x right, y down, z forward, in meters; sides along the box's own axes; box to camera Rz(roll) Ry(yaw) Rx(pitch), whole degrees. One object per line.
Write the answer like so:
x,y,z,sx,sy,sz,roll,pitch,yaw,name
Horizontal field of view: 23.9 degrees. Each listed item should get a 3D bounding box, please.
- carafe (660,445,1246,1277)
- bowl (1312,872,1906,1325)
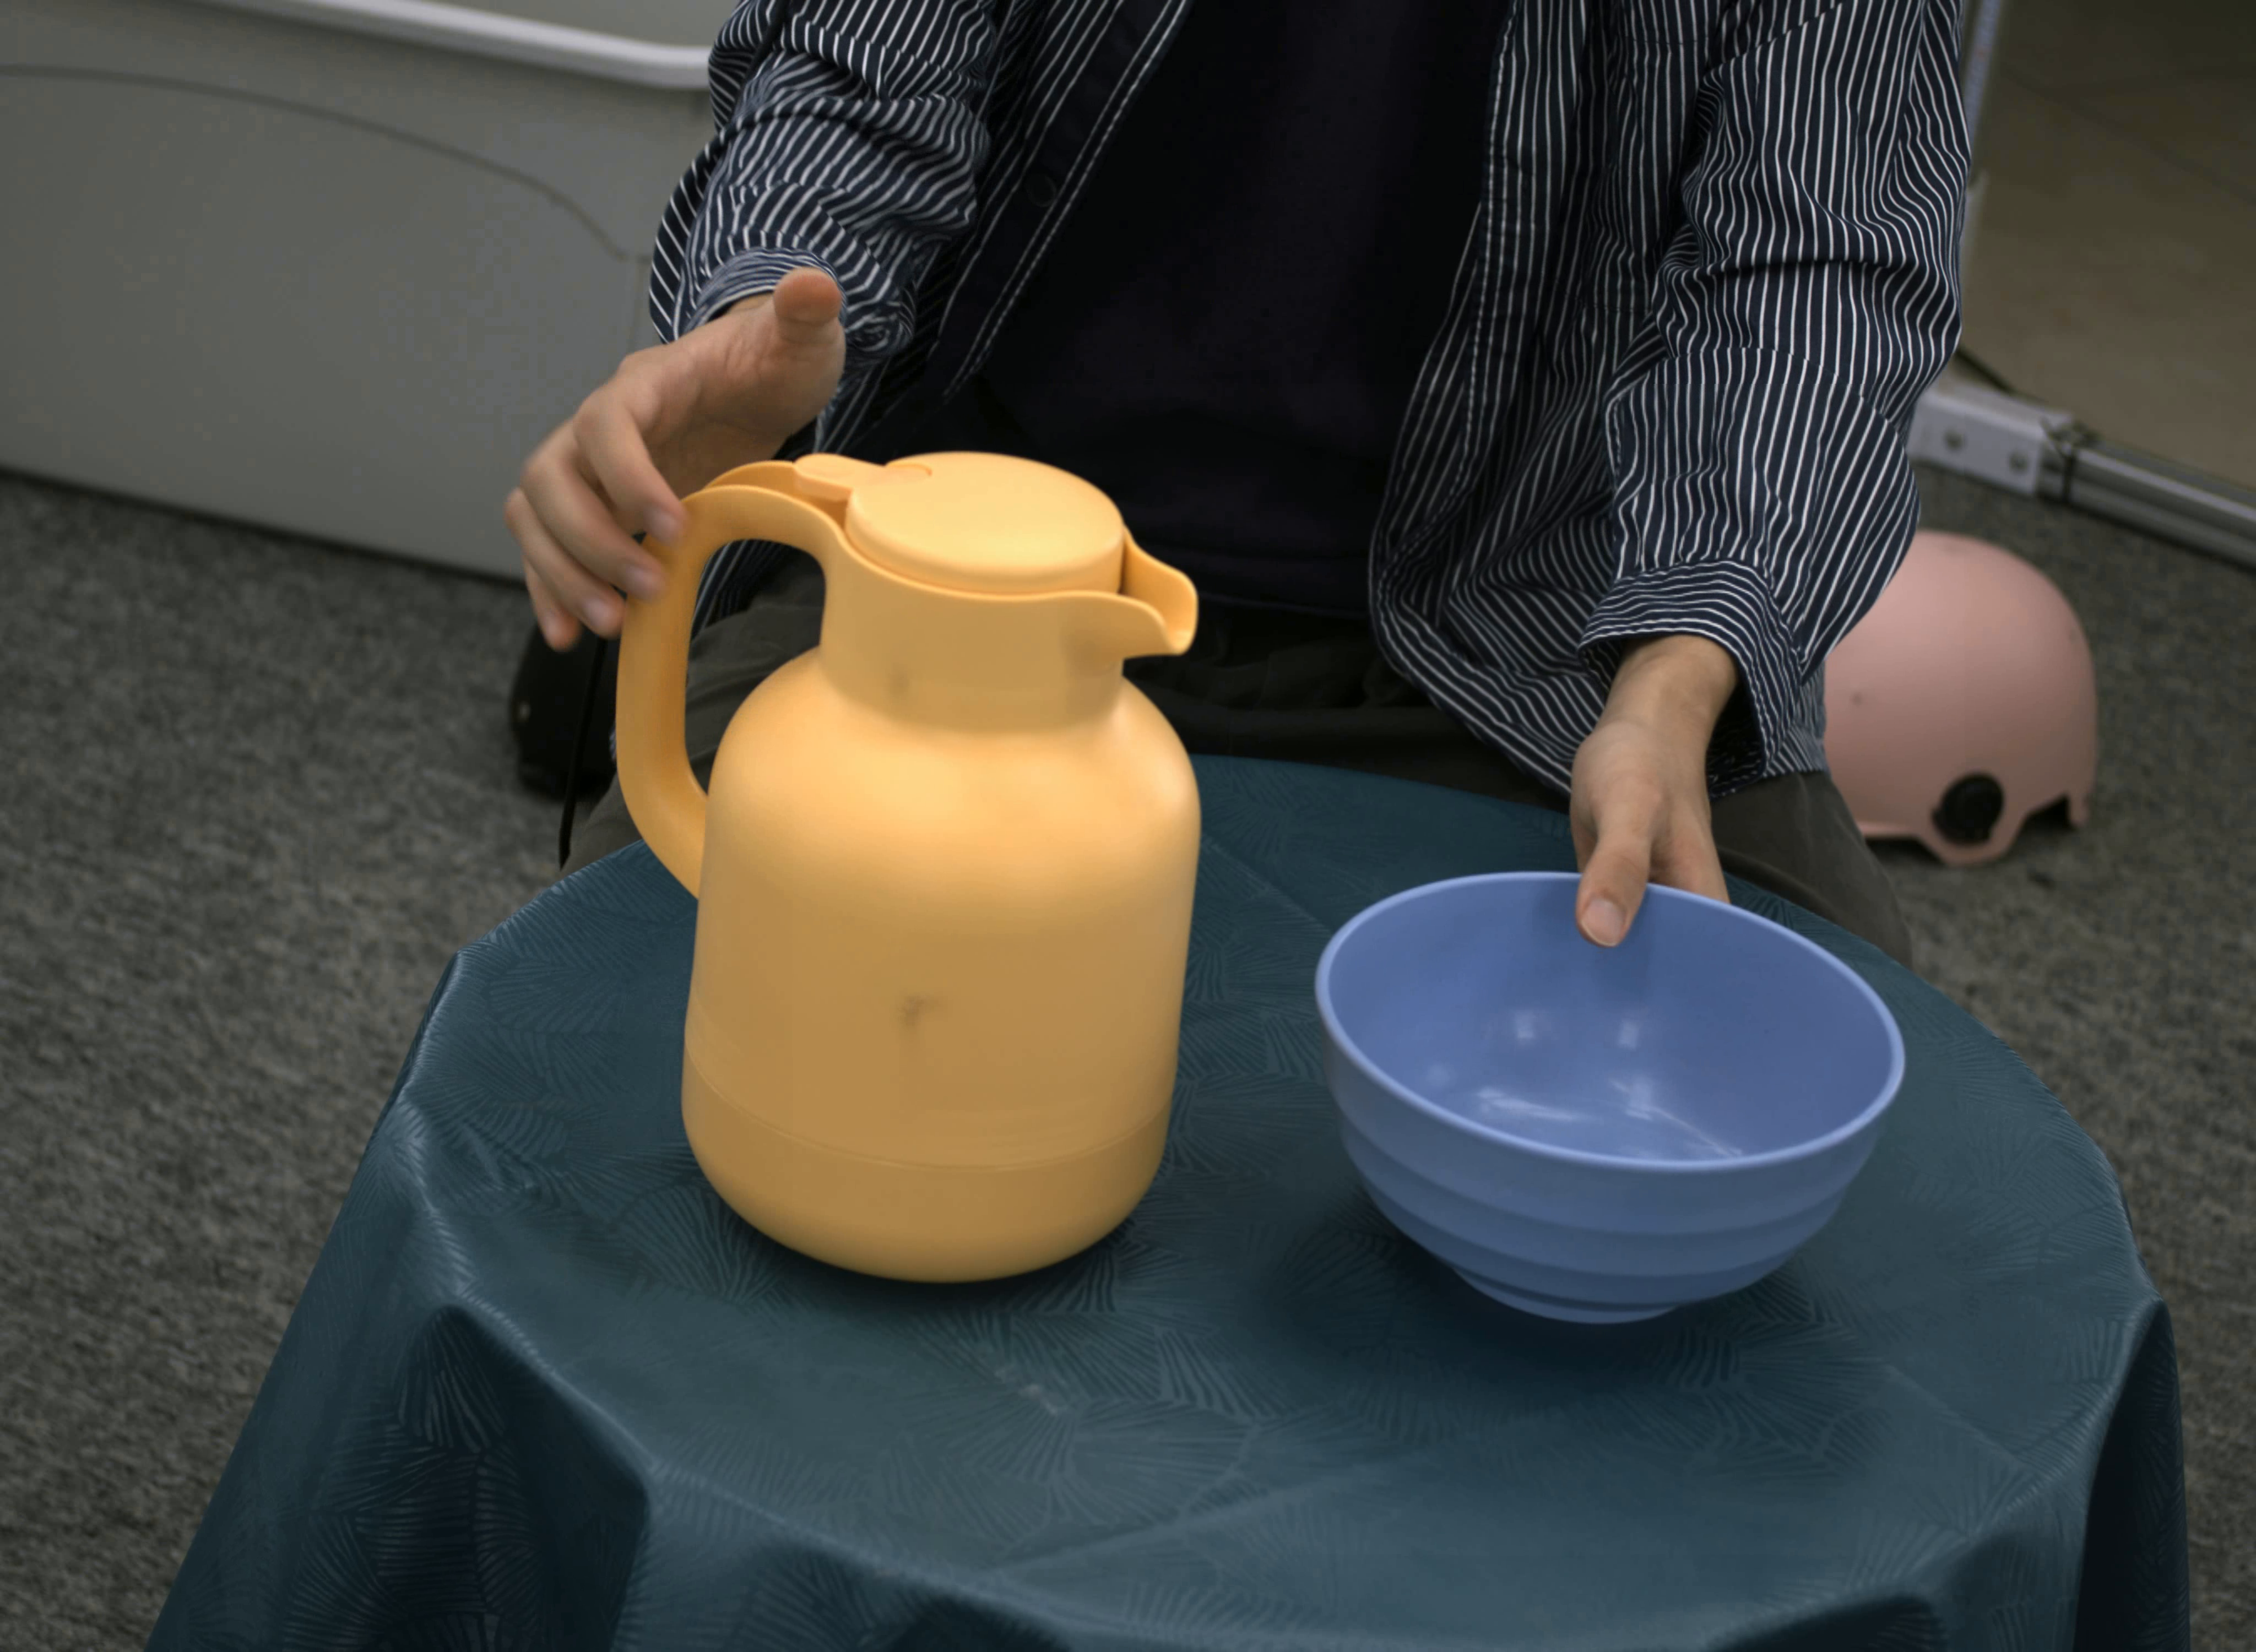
-0.060,0.001,1.740,0.203,0.259,0.163,17,28,21,carafe
0.153,0.102,1.770,0.196,0.095,0.197,5,27,-3,bowl
